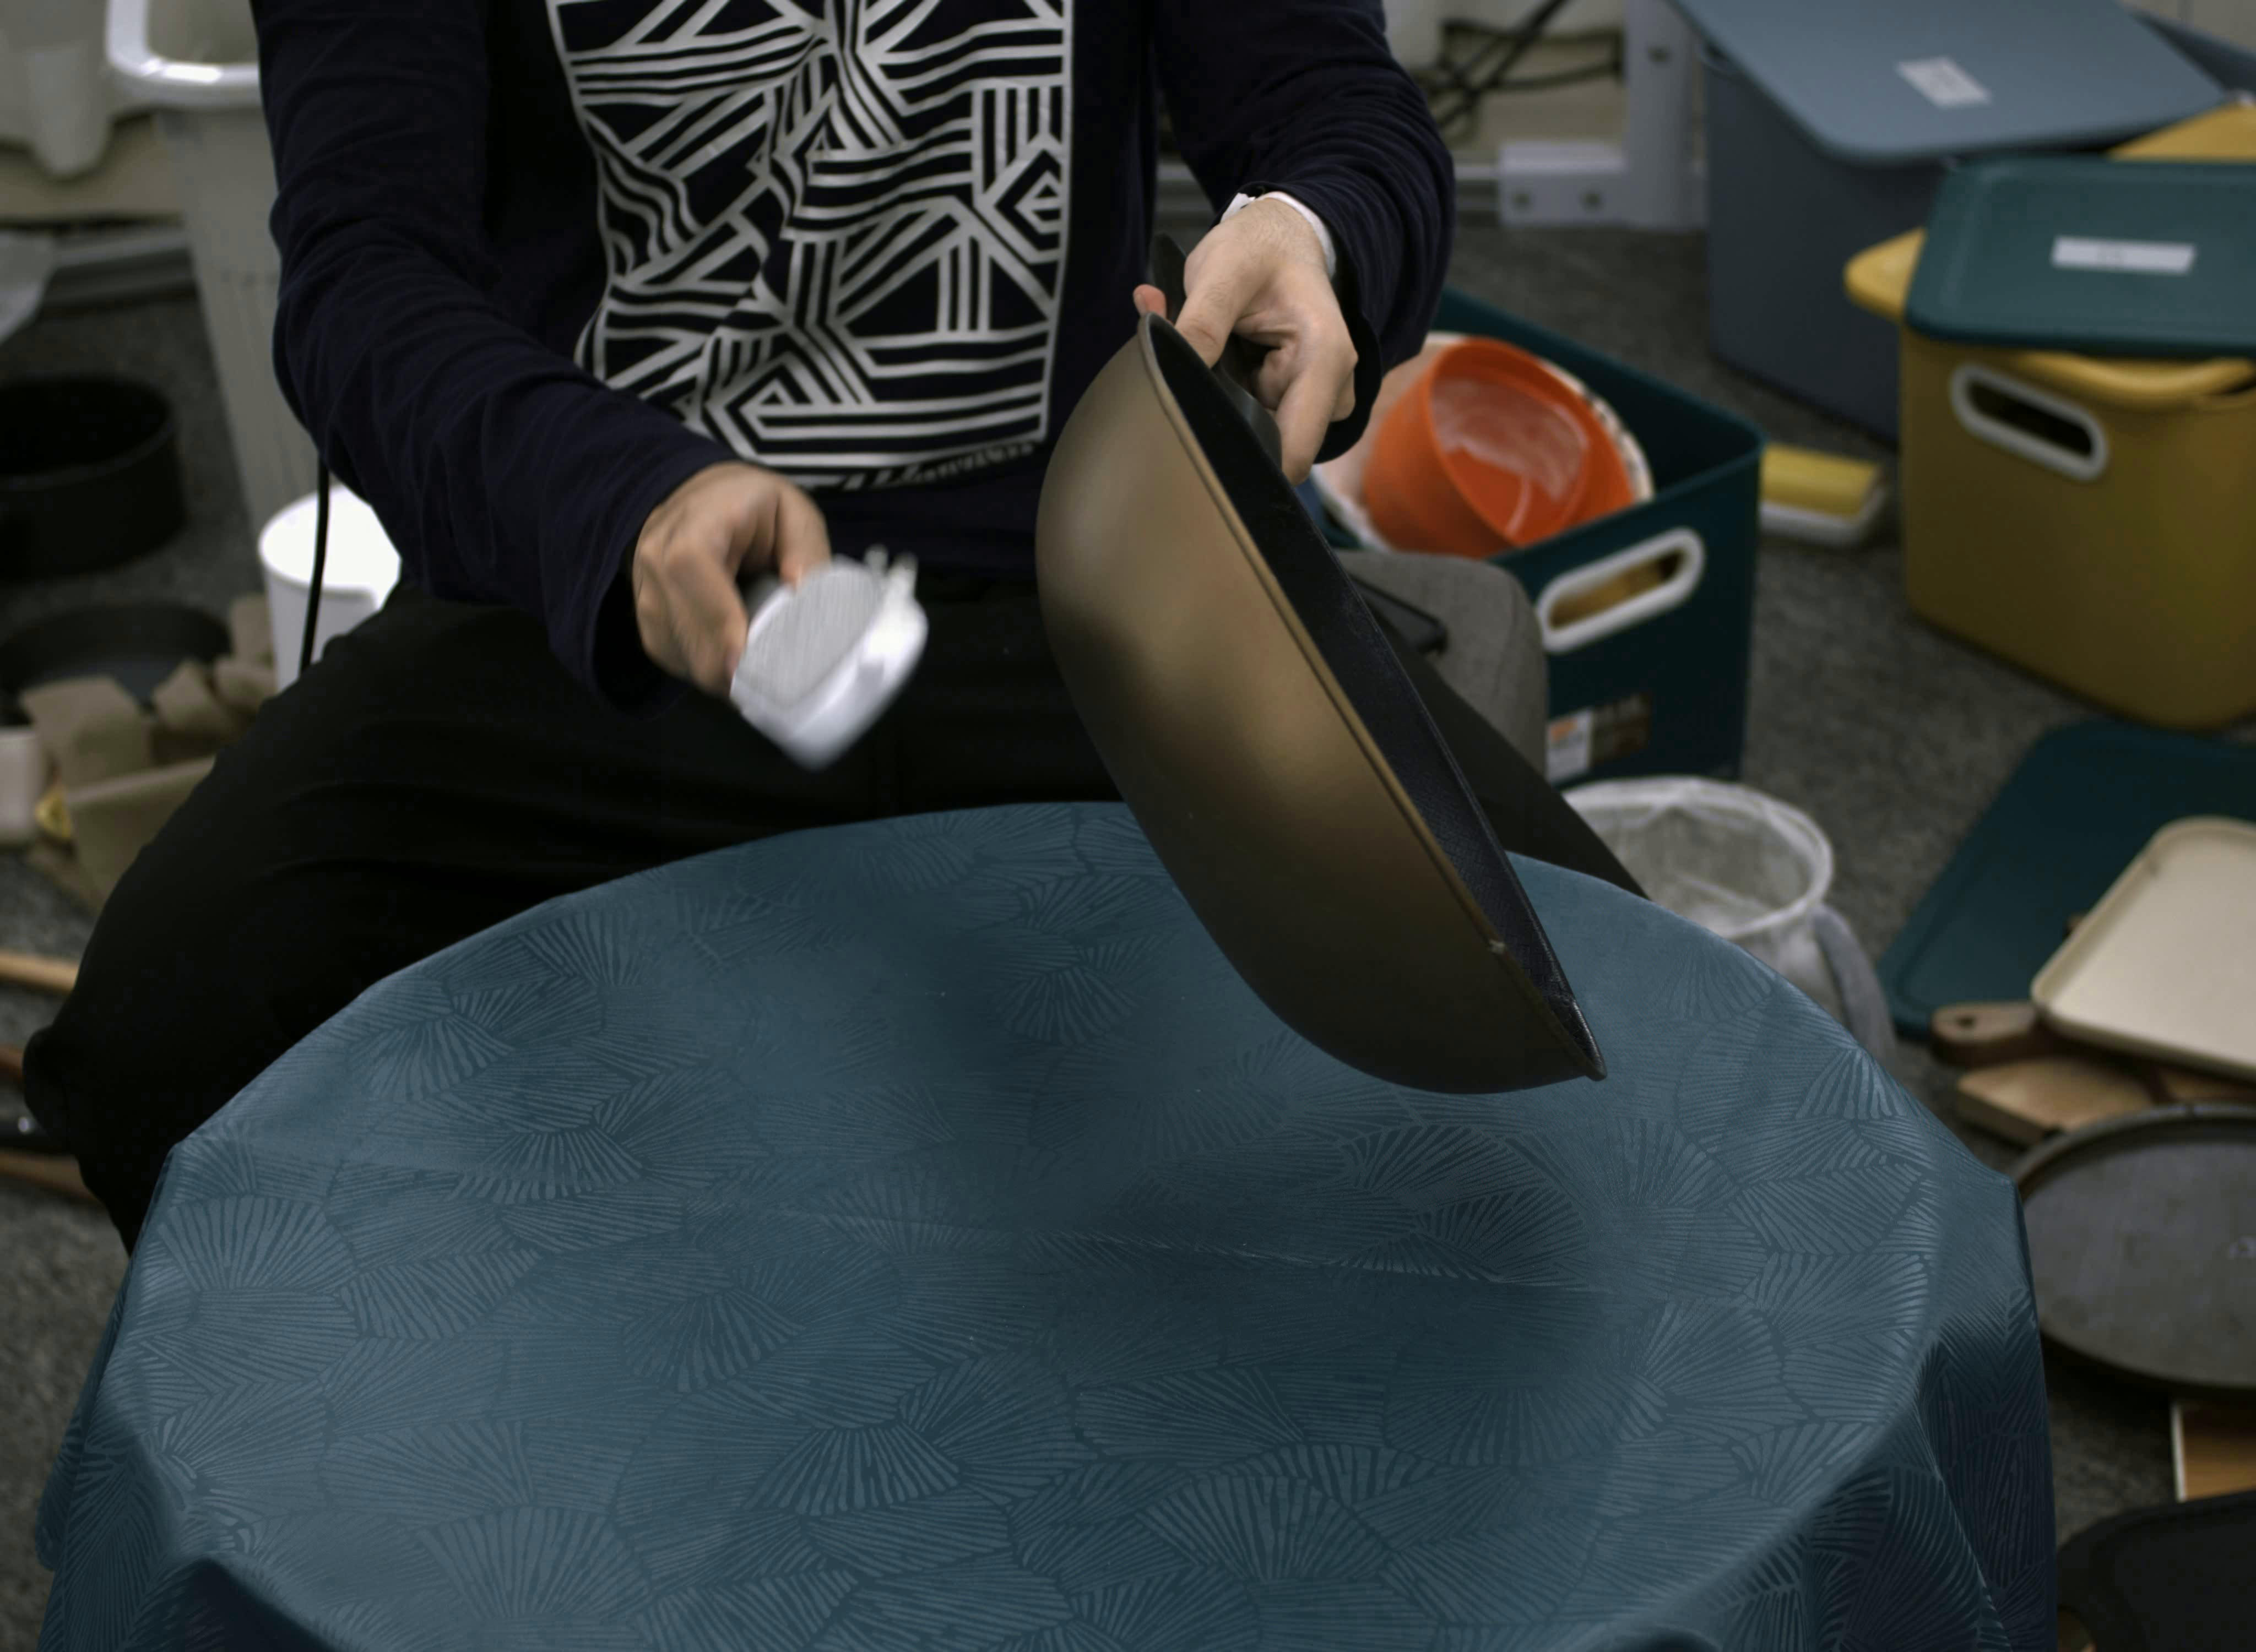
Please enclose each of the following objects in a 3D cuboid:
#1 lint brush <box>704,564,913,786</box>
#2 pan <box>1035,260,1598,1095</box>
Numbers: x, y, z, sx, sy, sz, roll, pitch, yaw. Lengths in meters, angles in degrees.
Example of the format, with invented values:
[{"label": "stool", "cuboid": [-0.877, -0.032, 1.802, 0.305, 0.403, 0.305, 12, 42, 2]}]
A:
[{"label": "lint brush", "cuboid": [-0.109, -0.057, 1.818, 0.021, 0.060, 0.309, 36, 0, -14]}, {"label": "pan", "cuboid": [0.030, -0.071, 1.853, 0.086, 0.285, 0.470, -30, 31, 6]}]
